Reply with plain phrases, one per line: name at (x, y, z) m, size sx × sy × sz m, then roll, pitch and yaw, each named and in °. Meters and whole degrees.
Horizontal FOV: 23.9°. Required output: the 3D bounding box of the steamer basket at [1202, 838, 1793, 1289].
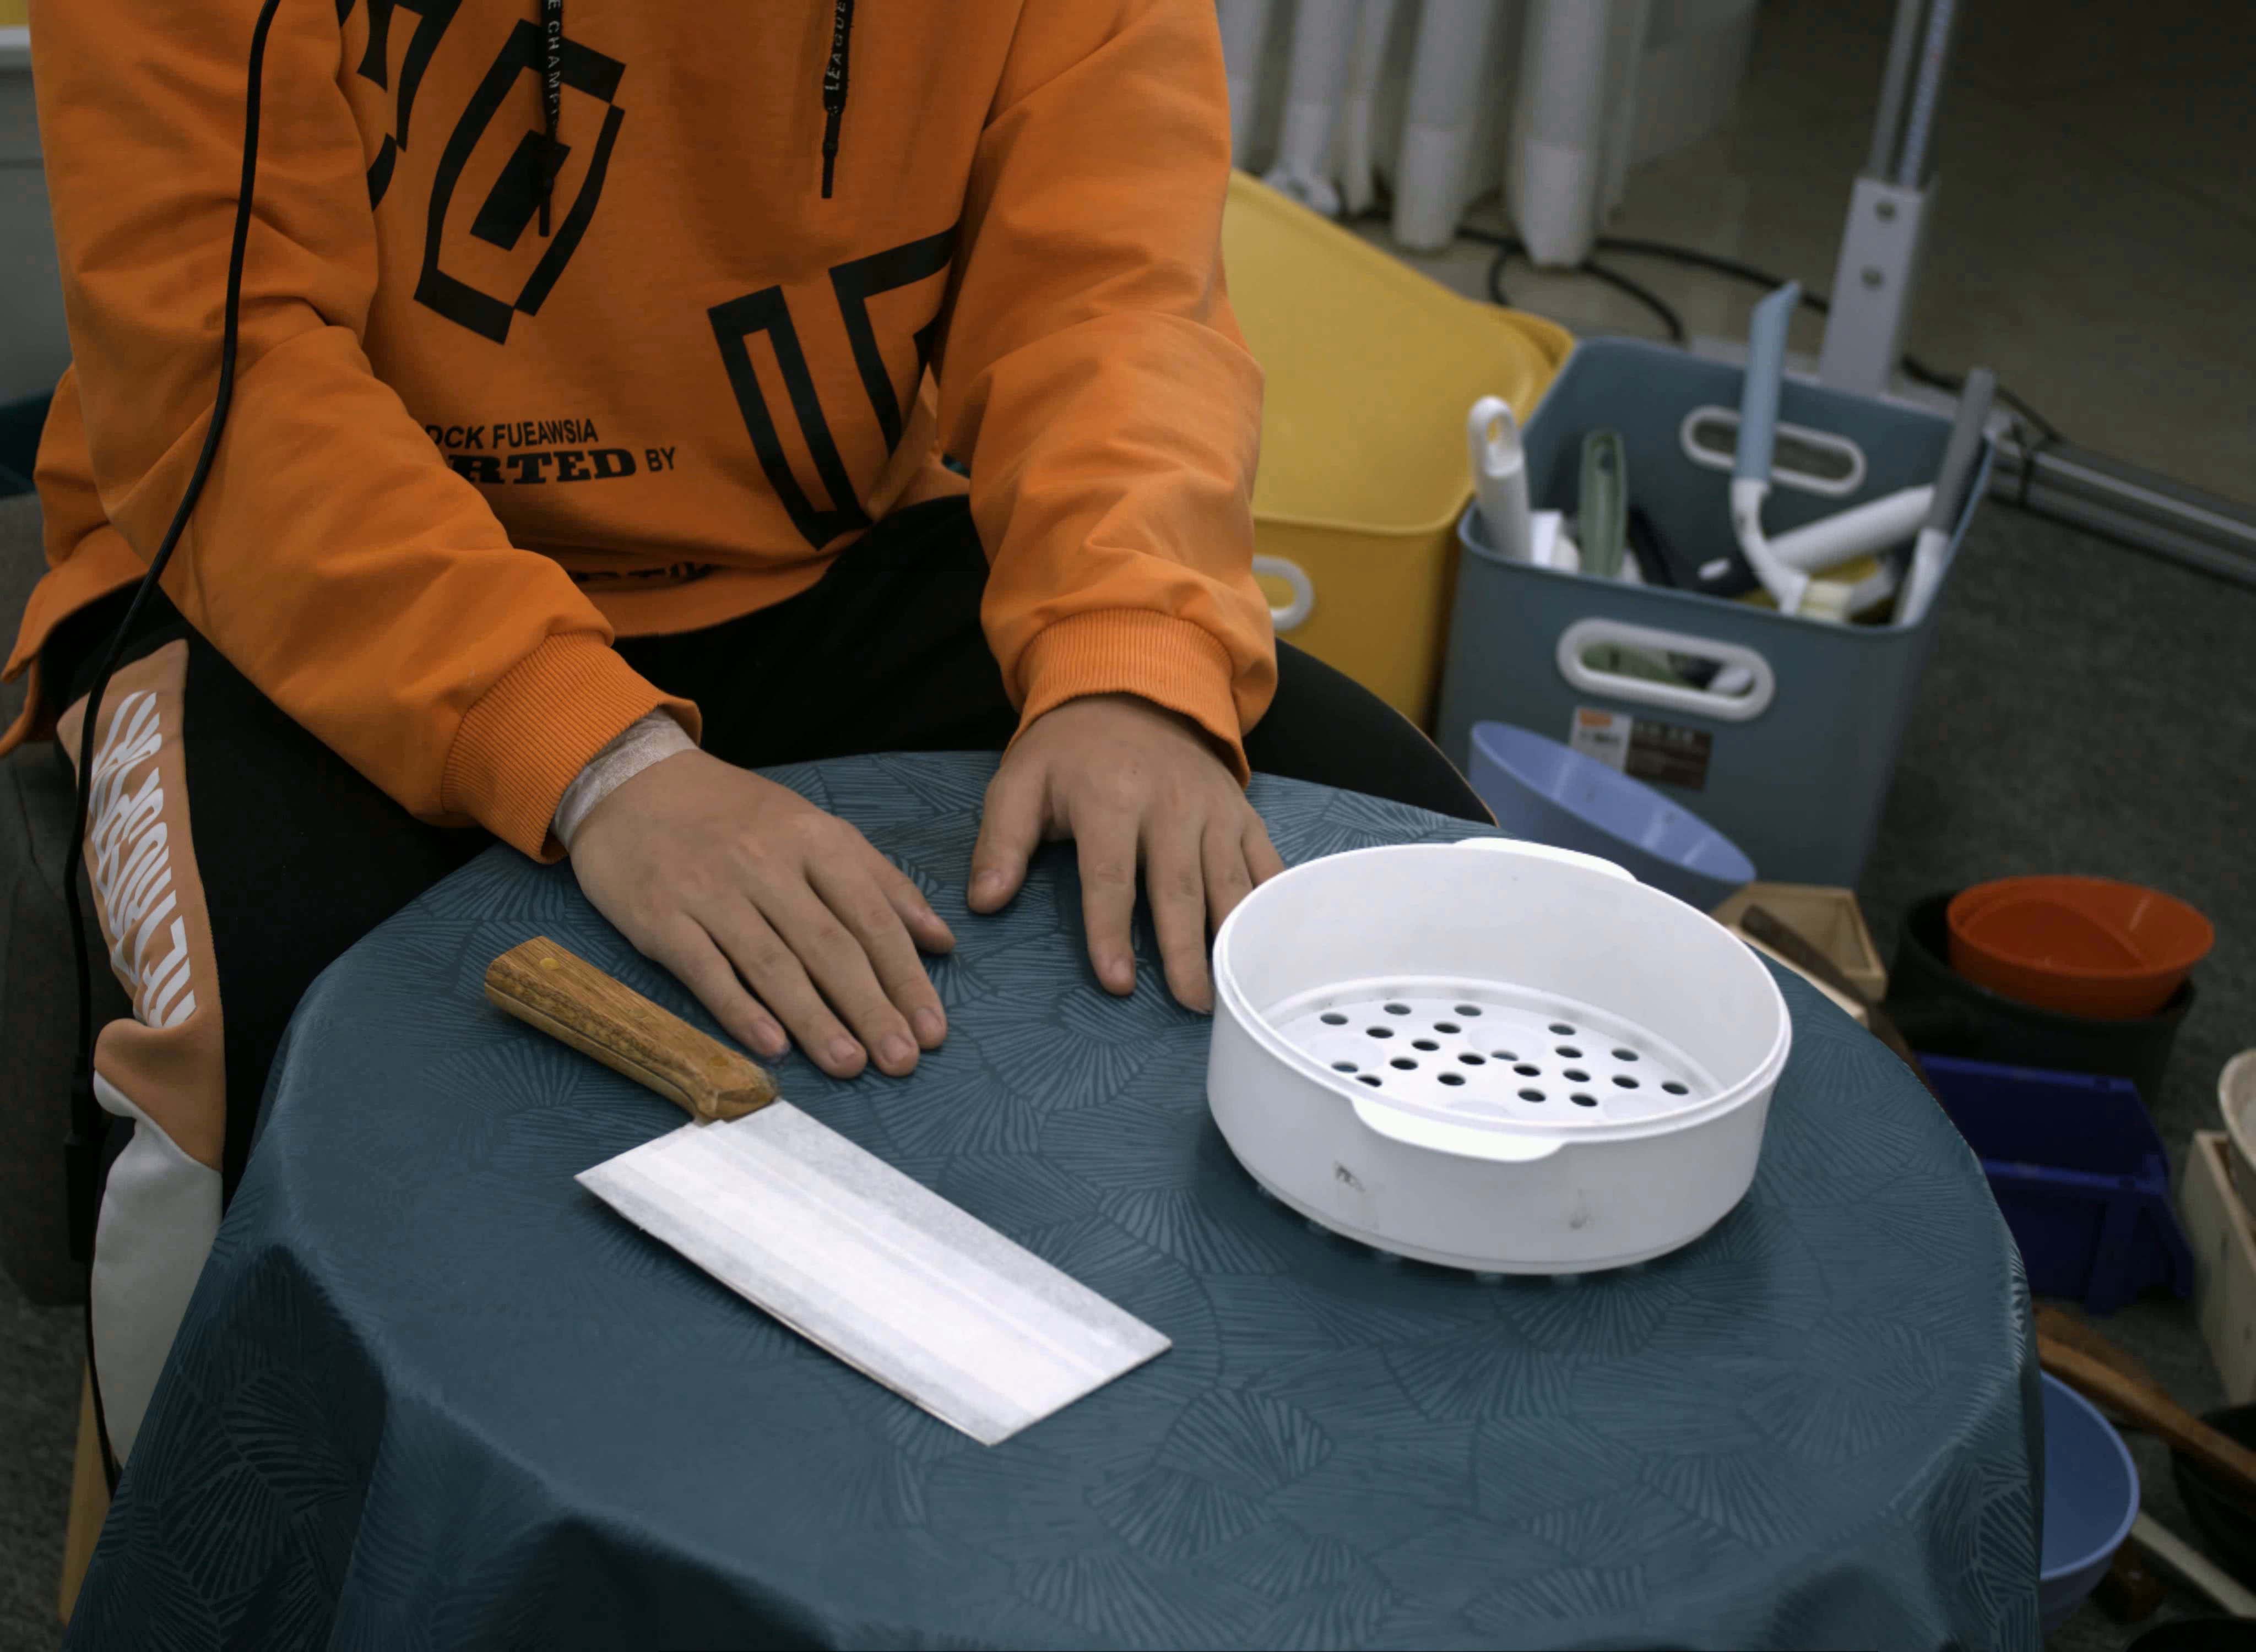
steamer basket at (0.125, 0.083, 1.834) m, size 0.202 × 0.069 × 0.231 m, roll 10°, pitch 29°, yaw 9°

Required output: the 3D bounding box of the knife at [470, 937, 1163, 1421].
knife at (-0.126, 0.118, 1.769) m, size 0.308 × 0.021 × 0.092 m, roll 29°, pitch 36°, yaw 33°
